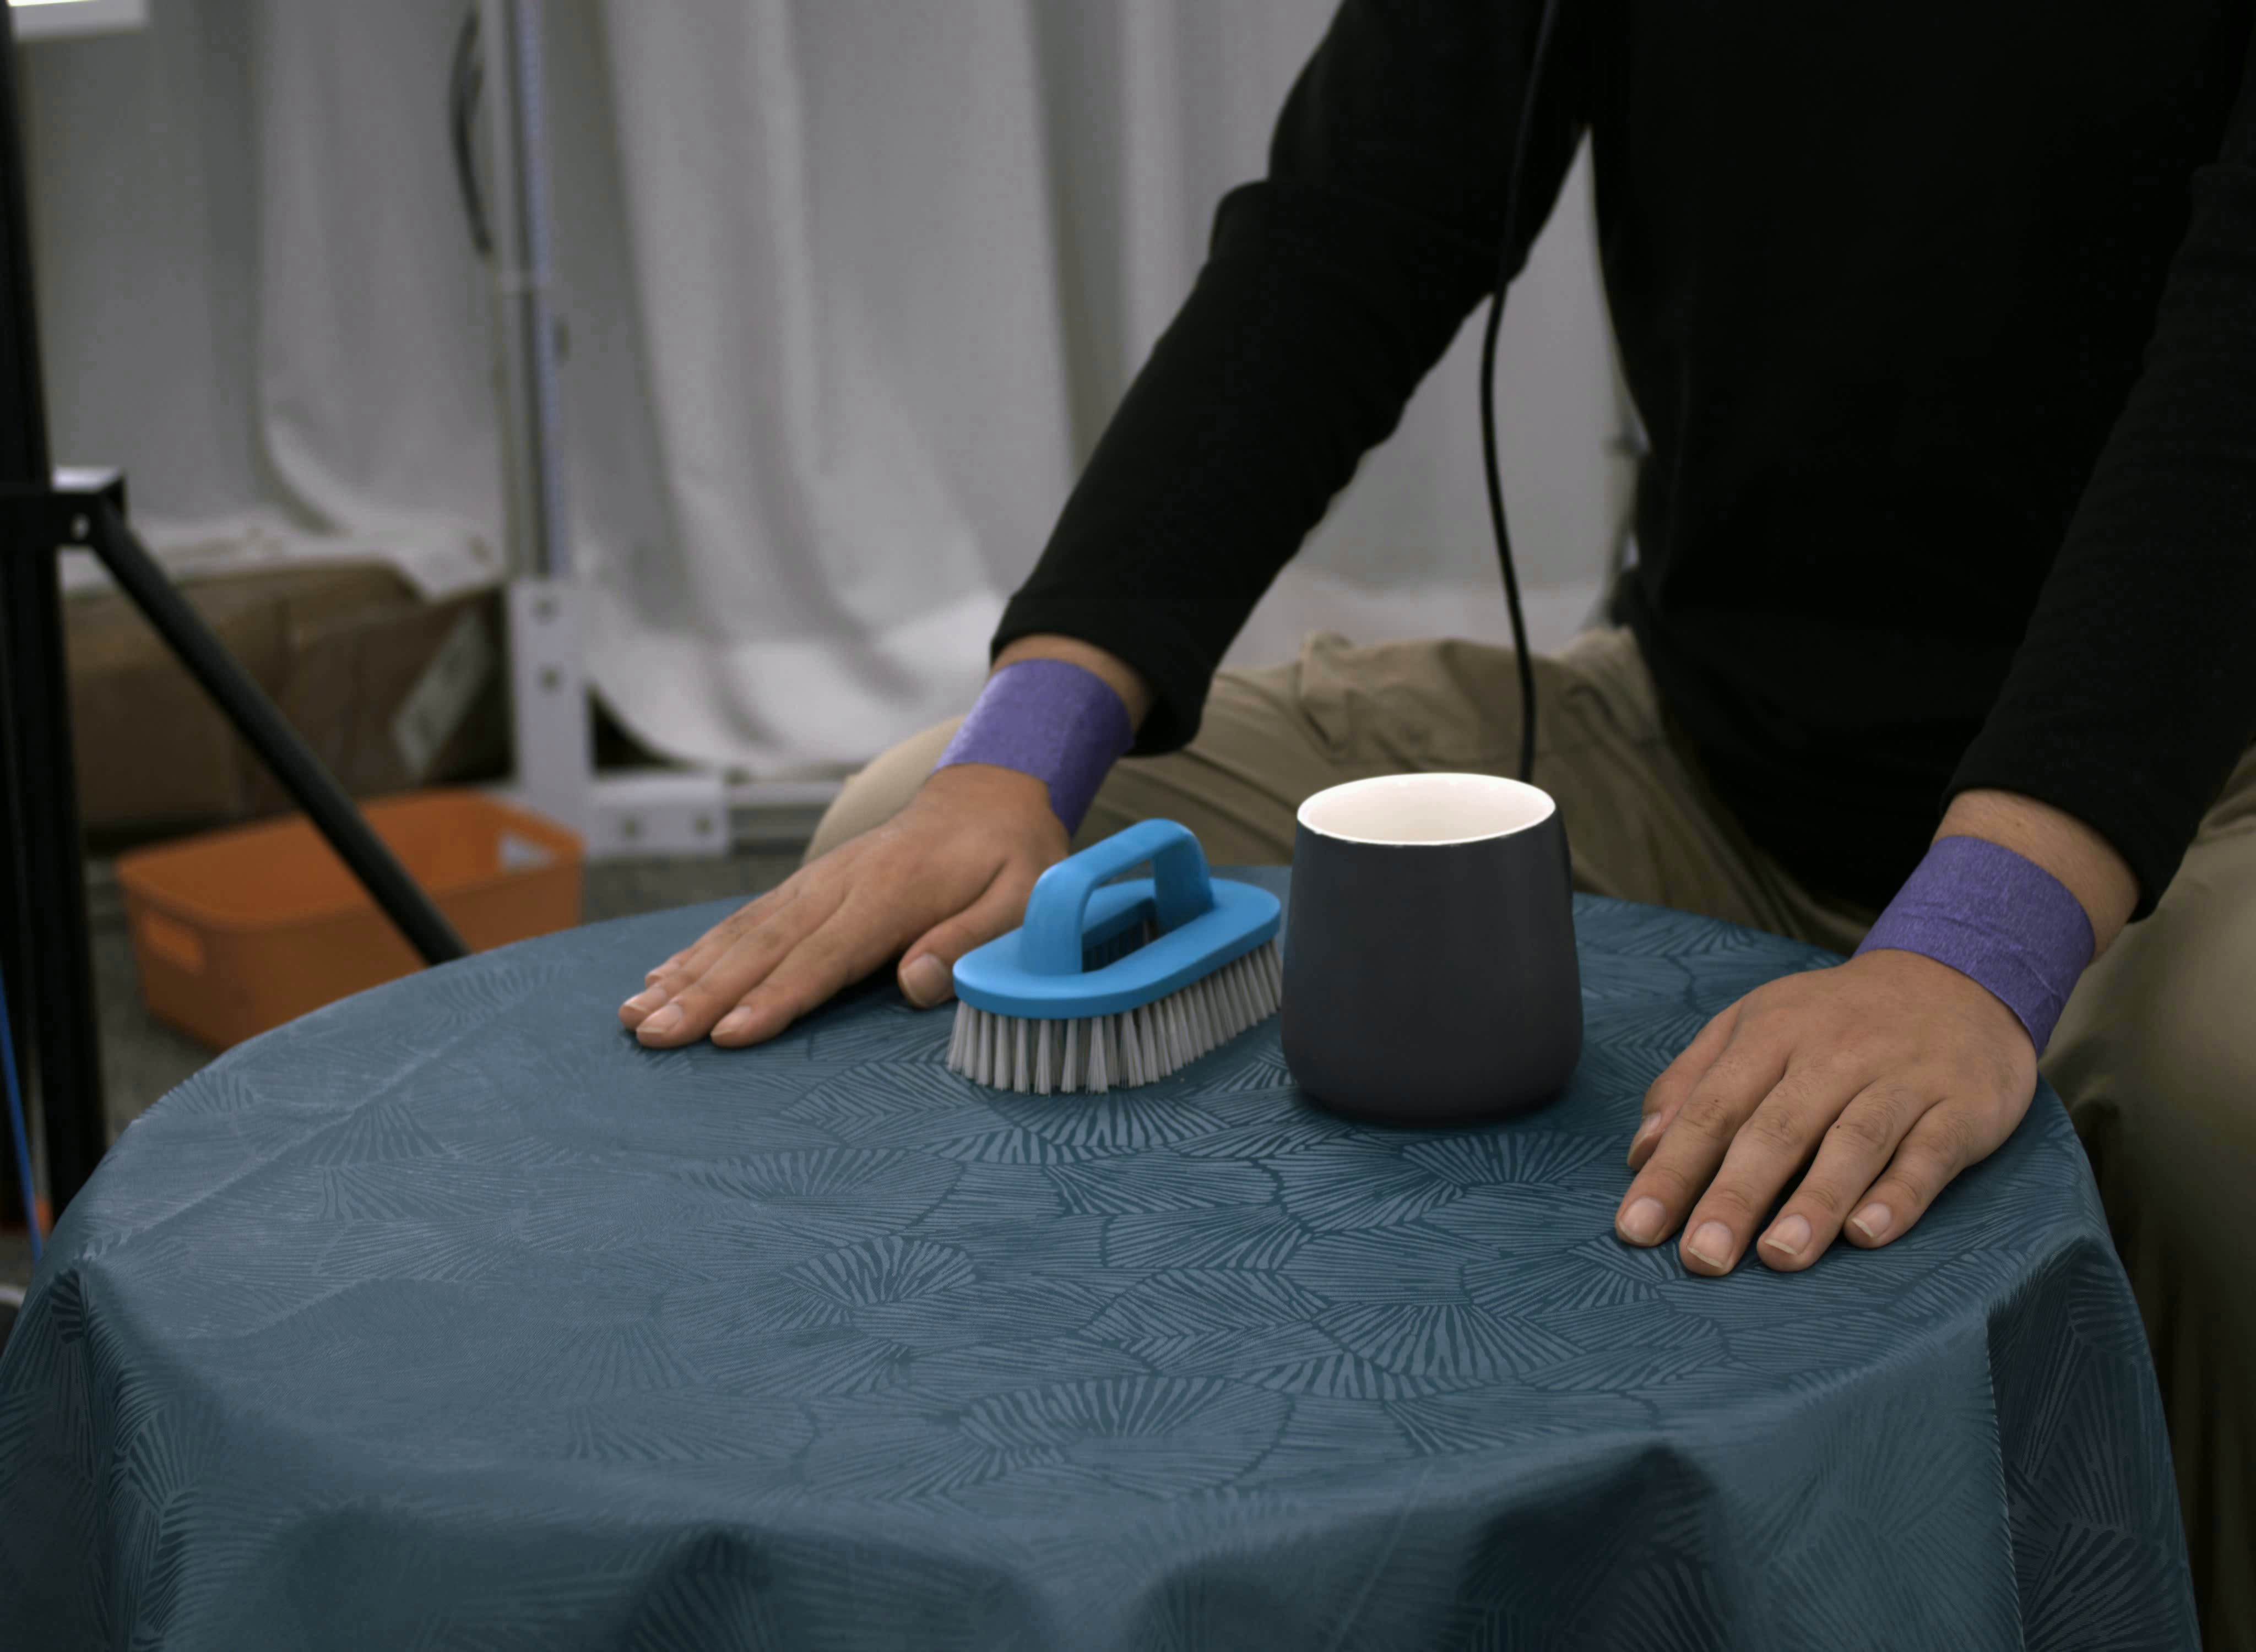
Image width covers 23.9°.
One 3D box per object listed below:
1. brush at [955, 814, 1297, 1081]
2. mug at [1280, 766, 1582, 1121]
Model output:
[{"bbox_3d":[0.000,0.034,1.701,0.086,0.064,0.139,2,15,33],"label":"brush"},{"bbox_3d":[0.102,0.032,1.637,0.095,0.090,0.121,11,22,37],"label":"mug"}]
